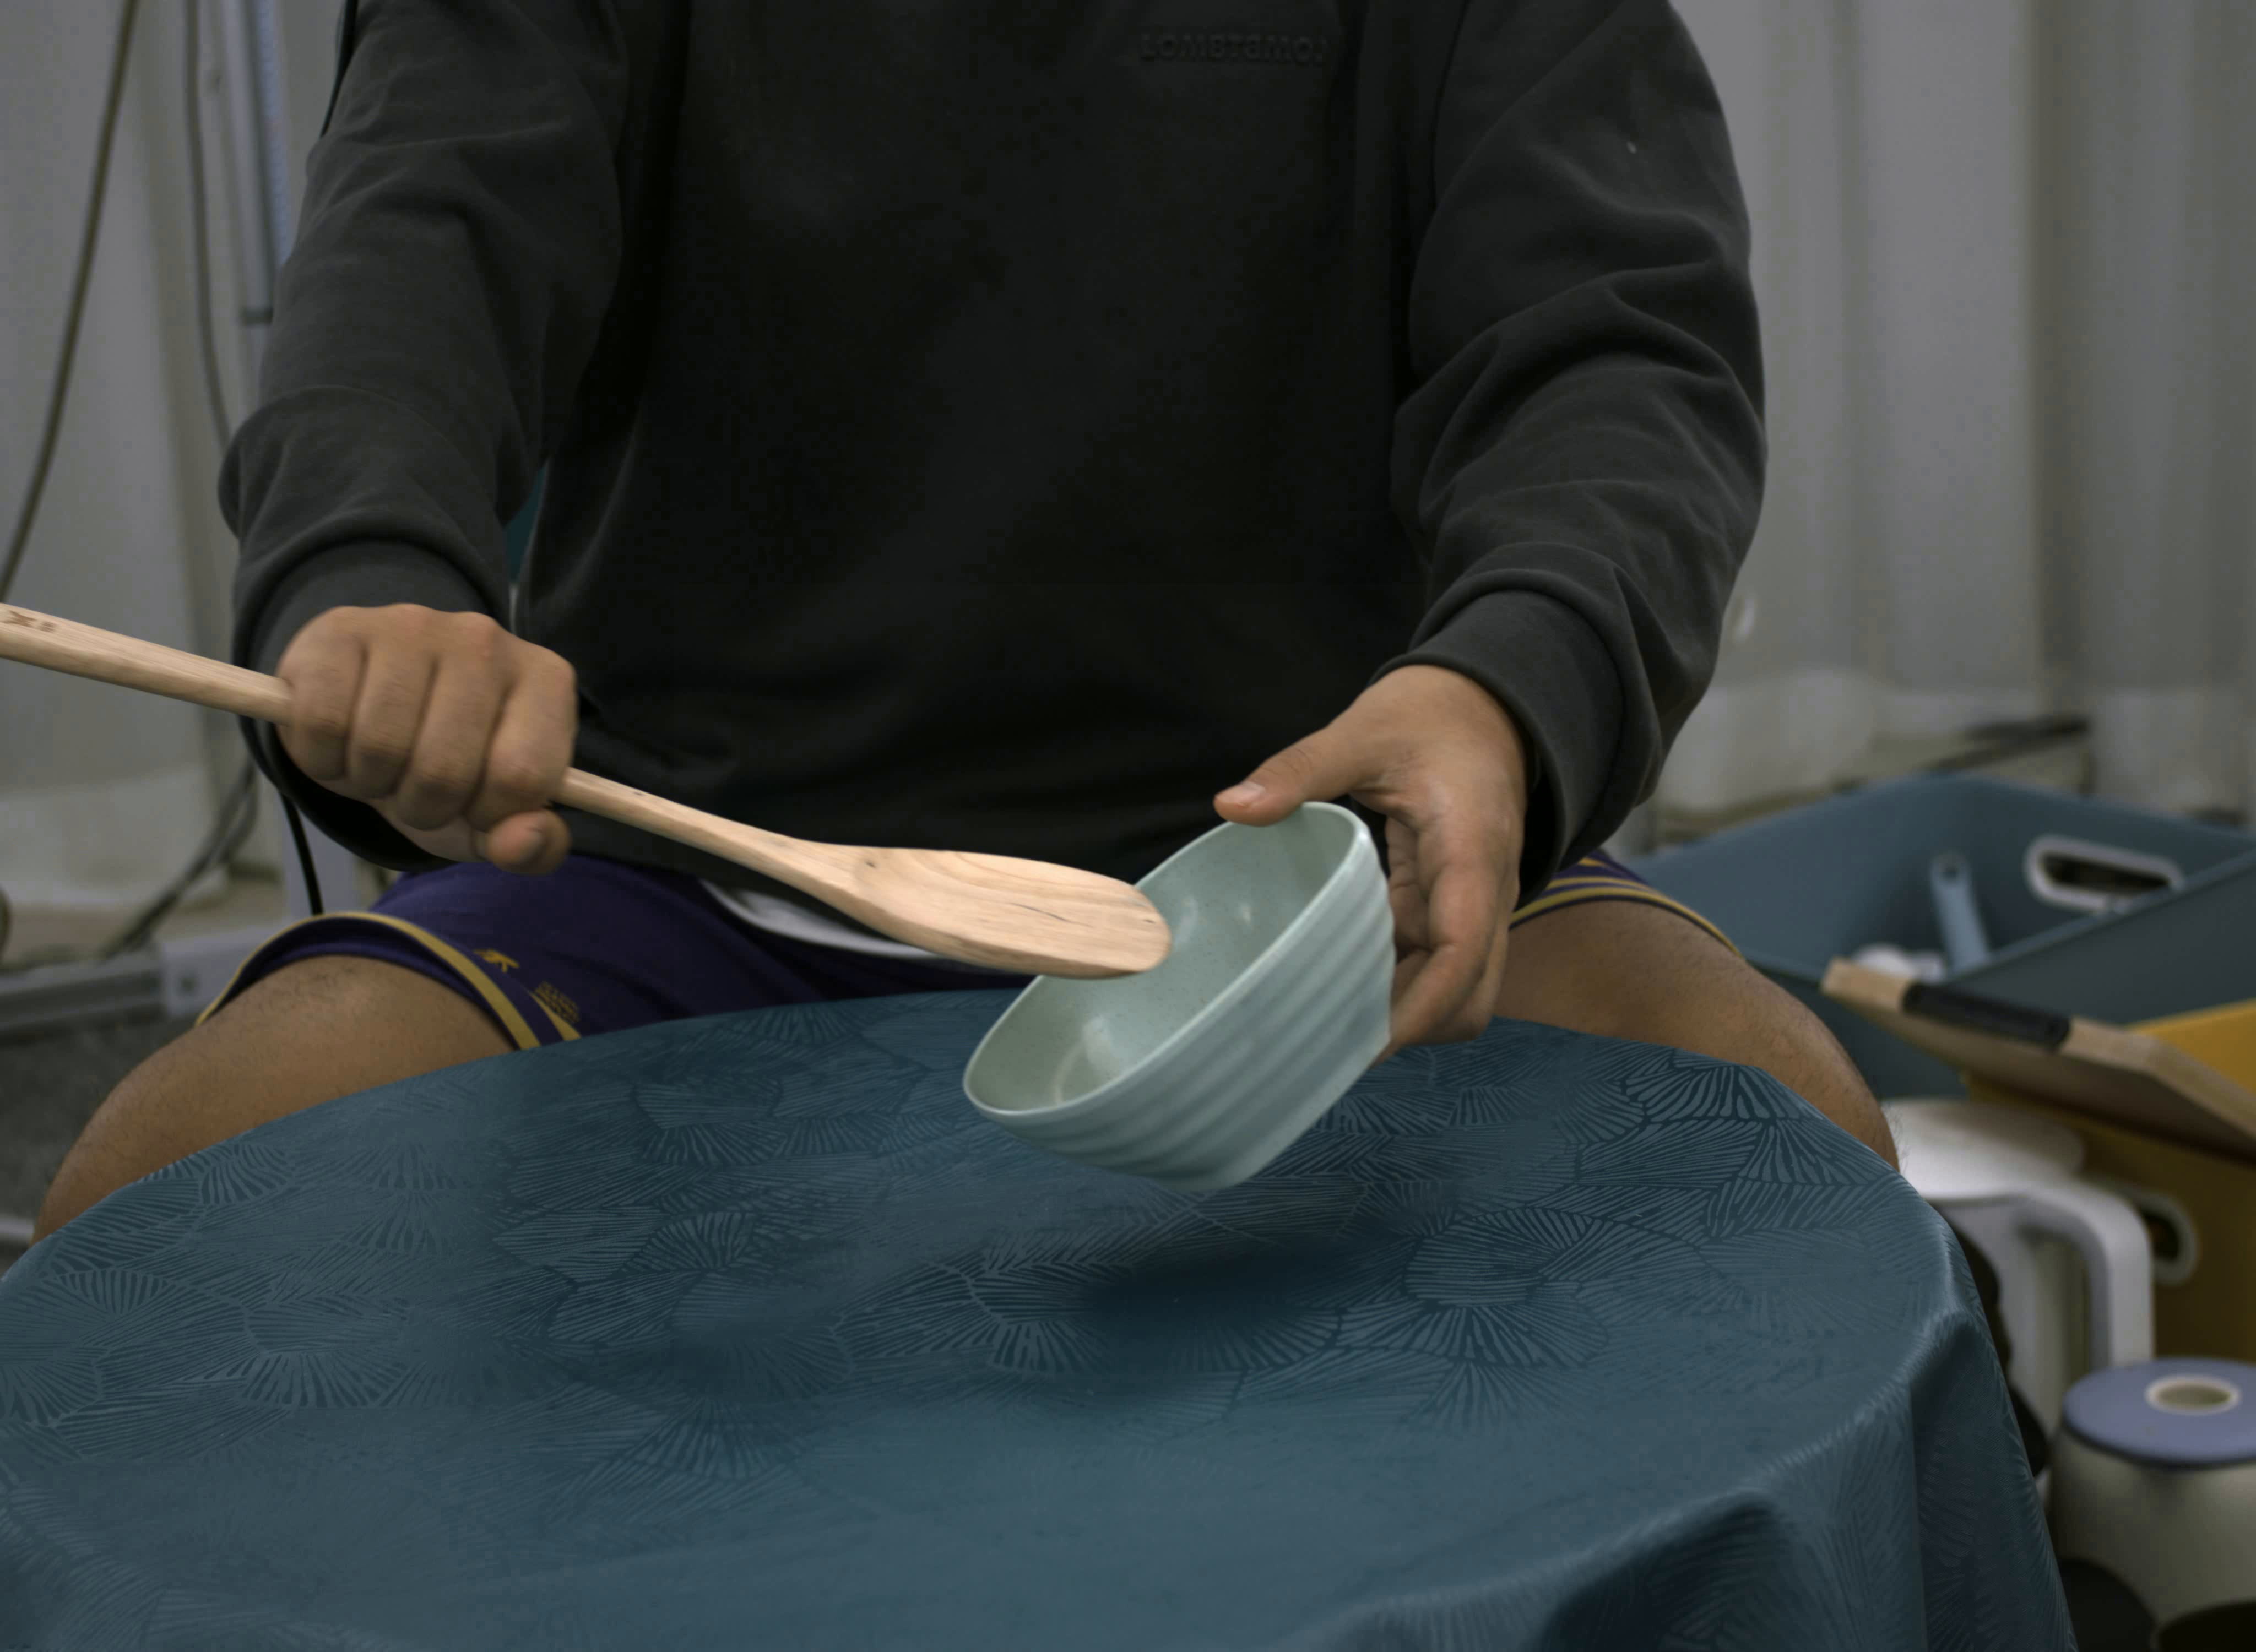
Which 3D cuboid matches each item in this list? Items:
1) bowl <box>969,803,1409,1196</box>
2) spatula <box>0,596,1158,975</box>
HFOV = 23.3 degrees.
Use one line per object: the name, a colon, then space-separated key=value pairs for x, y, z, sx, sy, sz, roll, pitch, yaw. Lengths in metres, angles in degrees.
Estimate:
bowl: x=0.028 y=0.060 z=1.632 sx=0.151 sy=0.058 sz=0.153 roll=-33 pitch=19 yaw=13
spatula: x=-0.179 y=-0.016 z=1.602 sx=0.389 sy=0.018 sz=0.096 roll=17 pitch=14 yaw=-2
